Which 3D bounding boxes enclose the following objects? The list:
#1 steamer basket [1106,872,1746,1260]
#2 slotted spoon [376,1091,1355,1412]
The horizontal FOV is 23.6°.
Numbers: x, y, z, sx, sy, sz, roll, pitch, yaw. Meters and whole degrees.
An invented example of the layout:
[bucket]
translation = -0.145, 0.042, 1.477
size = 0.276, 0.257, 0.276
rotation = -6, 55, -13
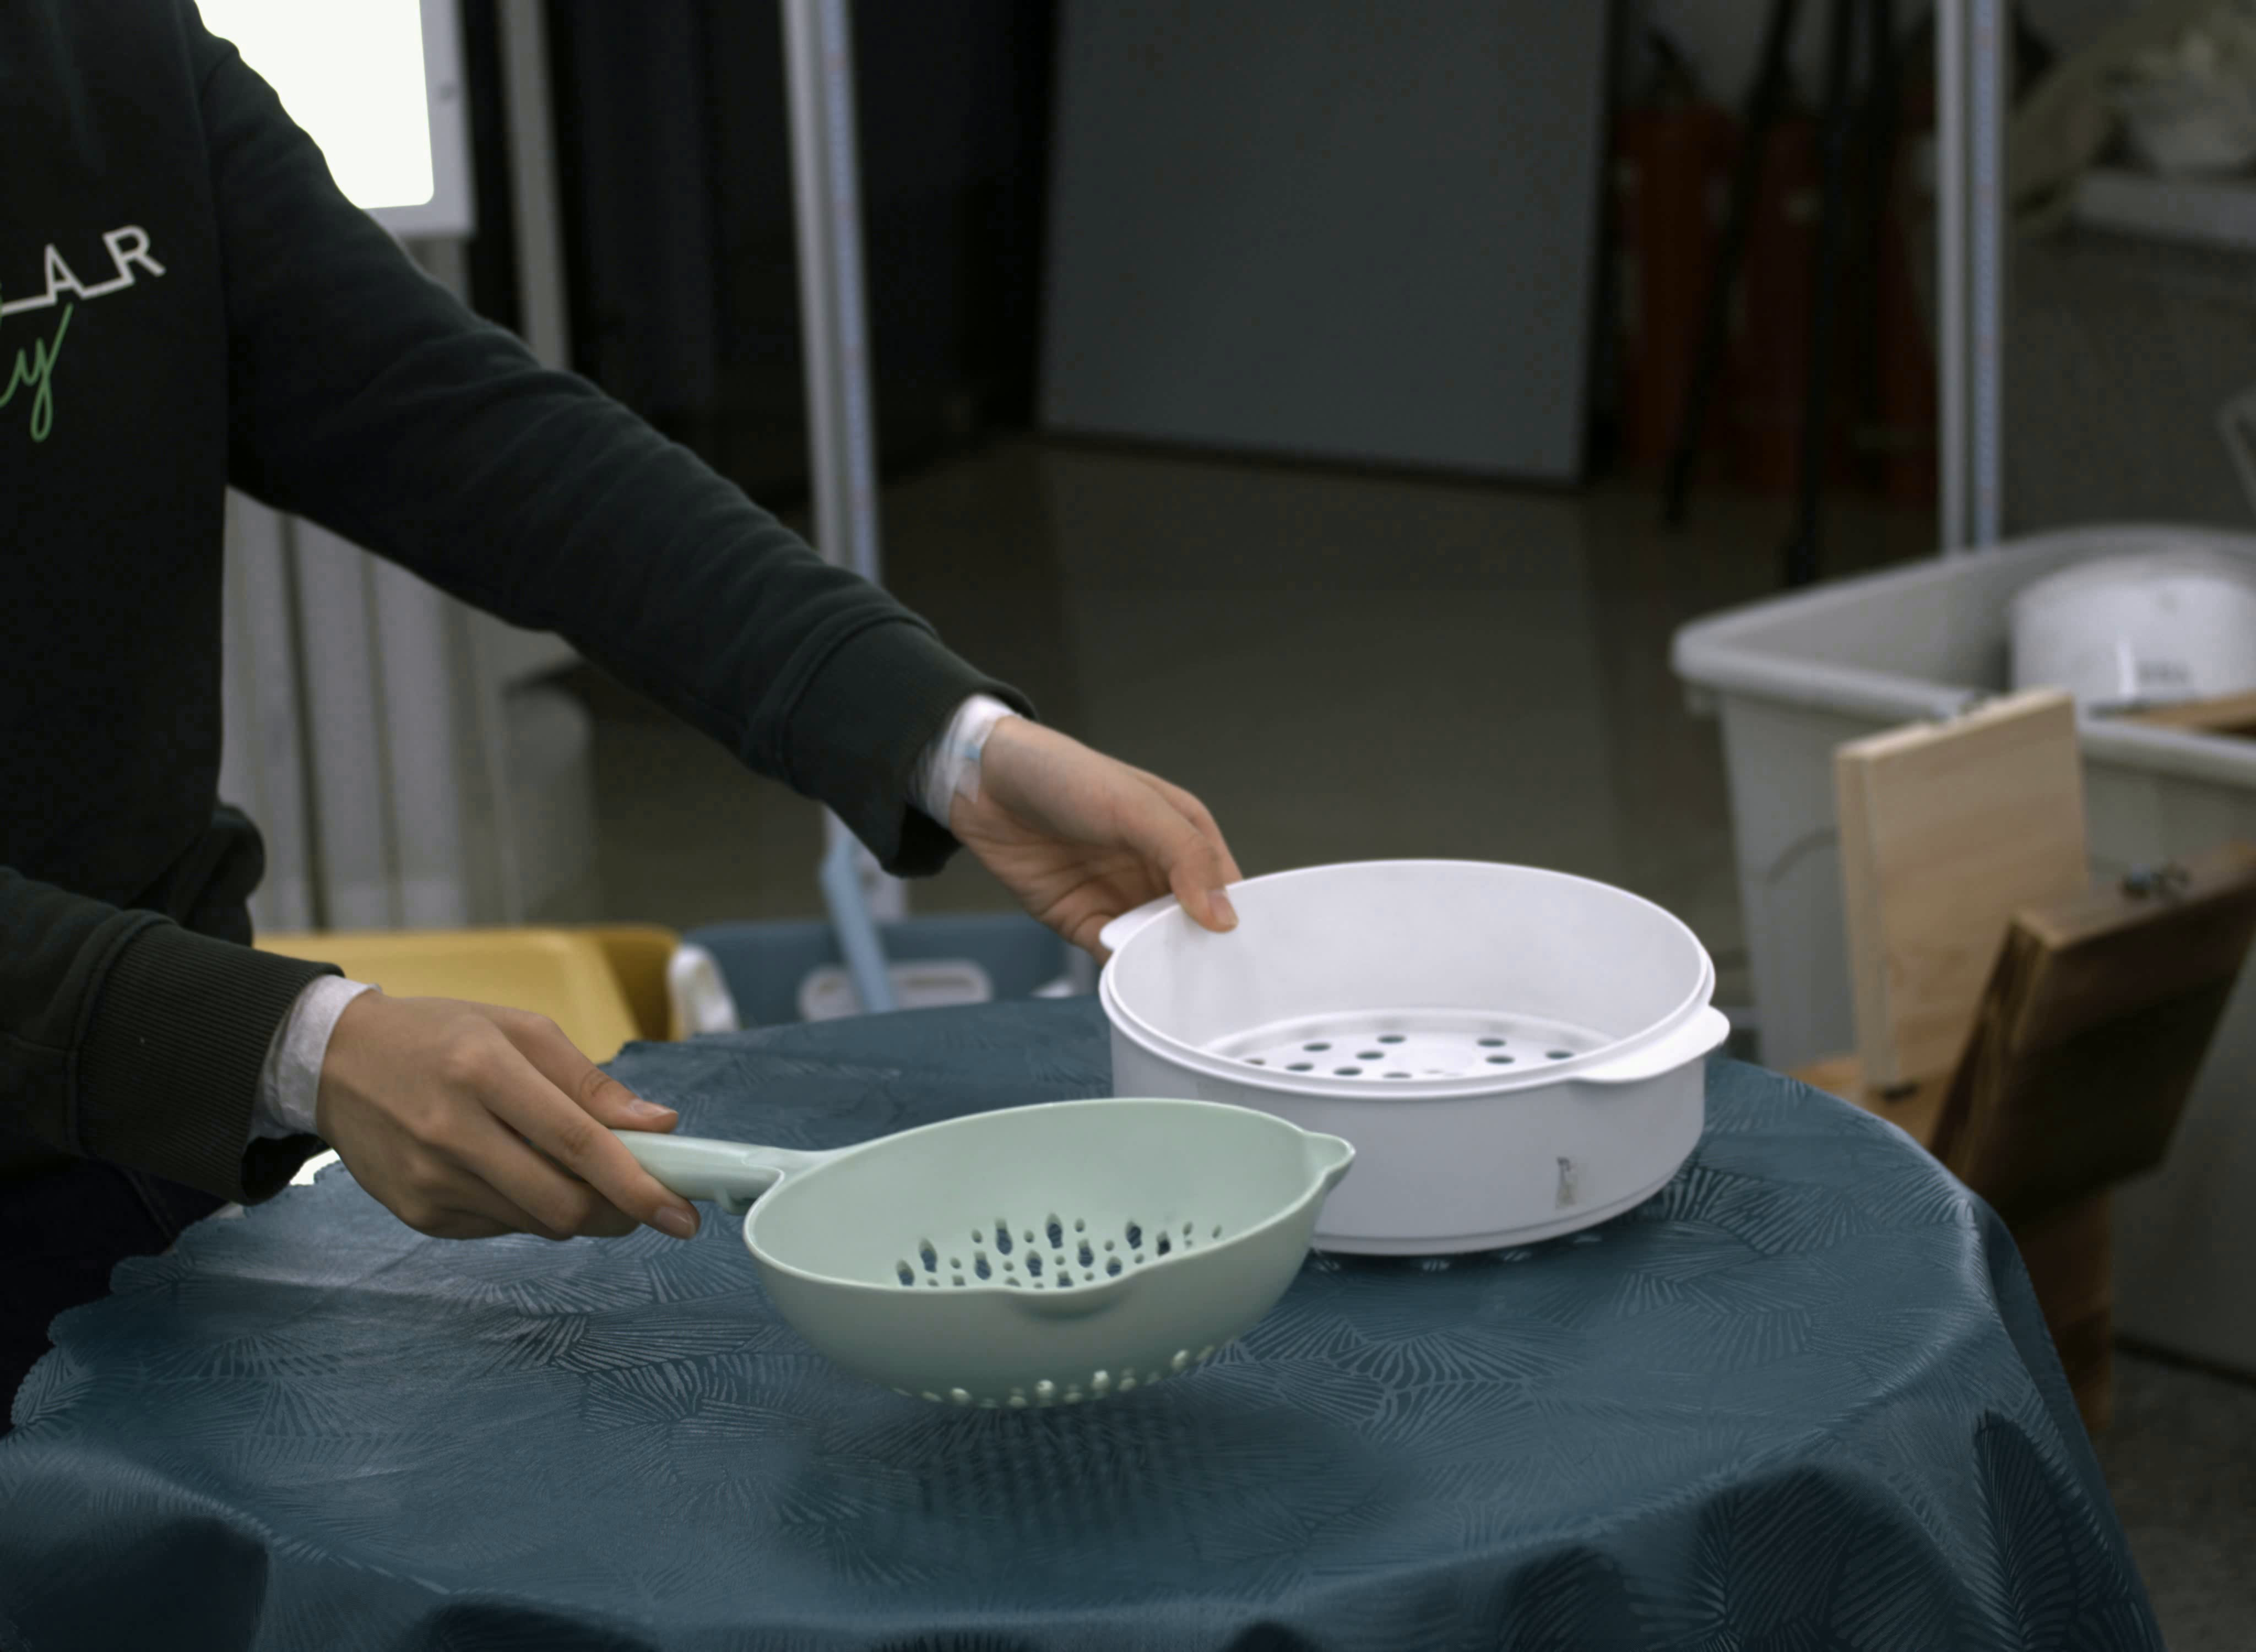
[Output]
[steamer basket]
translation = 0.094, 0.077, 1.747
size = 0.232, 0.070, 0.198
rotation = 12, 23, 39
[slotted spoon]
translation = -0.099, 0.110, 1.602
size = 0.361, 0.076, 0.166
rotation = 13, 23, 38
